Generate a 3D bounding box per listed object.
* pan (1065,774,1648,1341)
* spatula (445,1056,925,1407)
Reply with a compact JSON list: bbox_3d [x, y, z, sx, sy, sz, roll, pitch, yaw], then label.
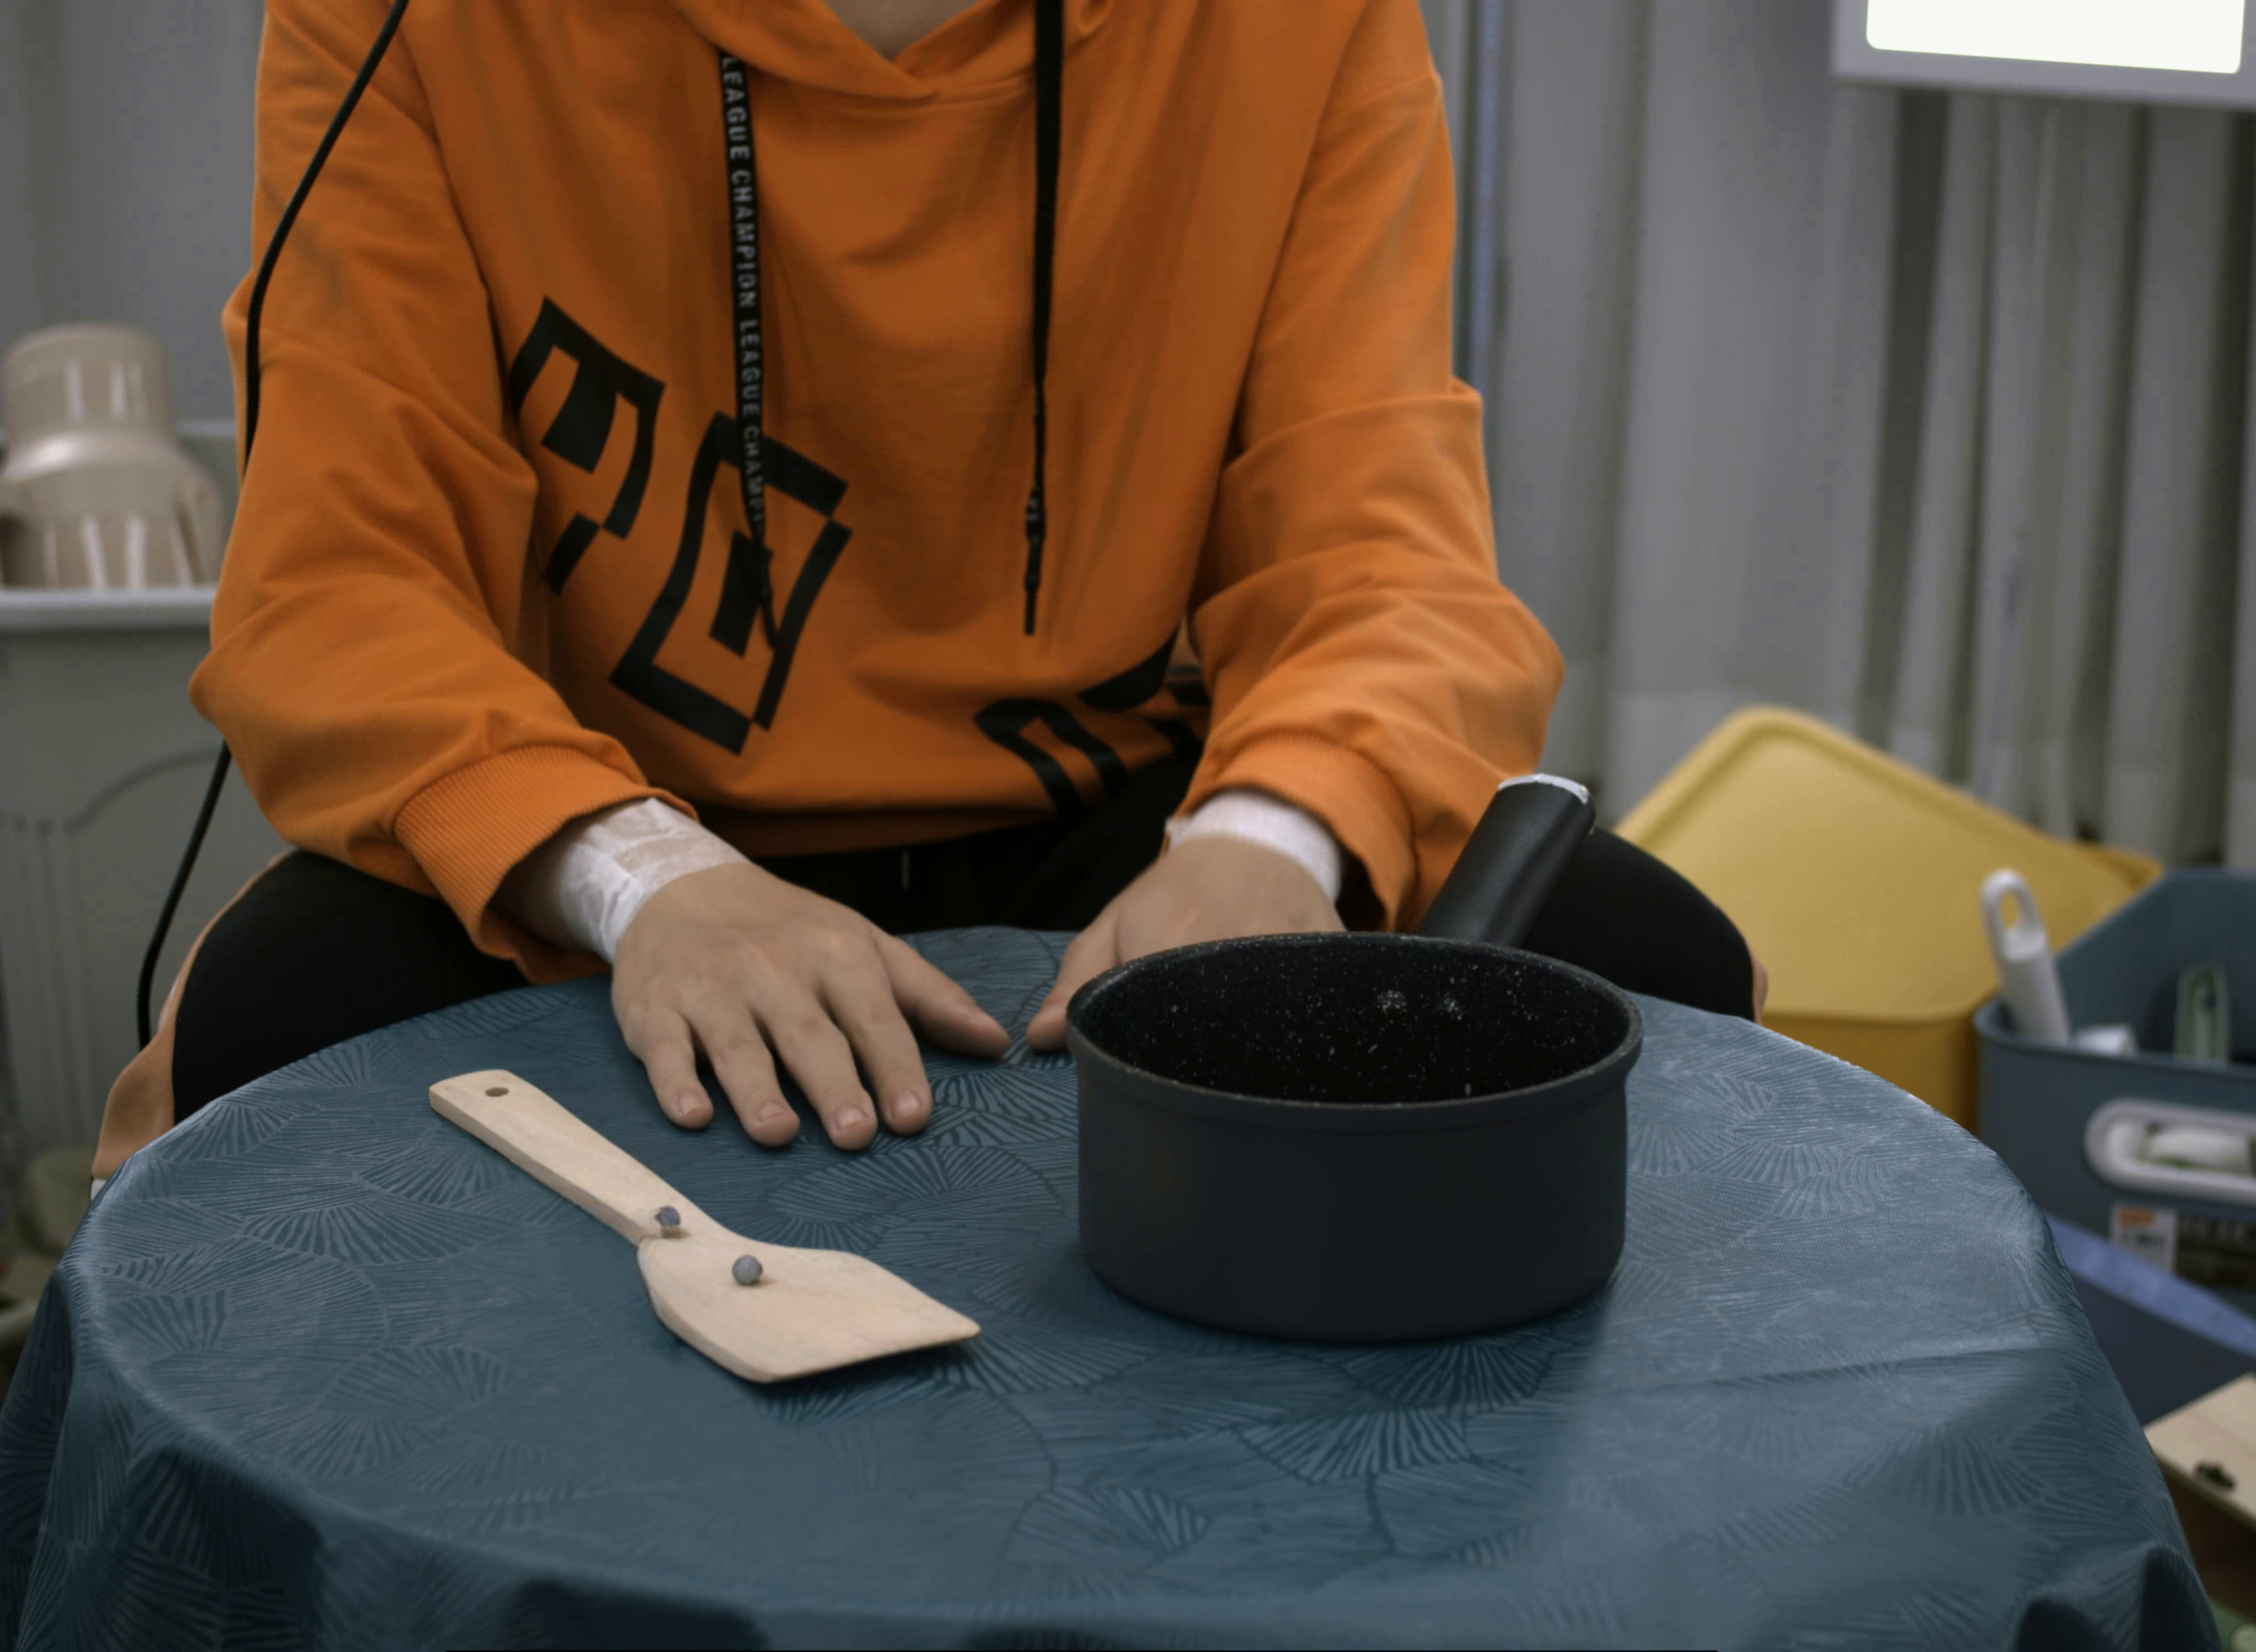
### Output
[{"bbox_3d":[0.094,0.067,1.630,0.170,0.087,0.329,7,18,19],"label":"pan"},{"bbox_3d":[-0.150,0.118,1.592,0.072,0.011,0.289,-10,20,-24],"label":"spatula"}]
